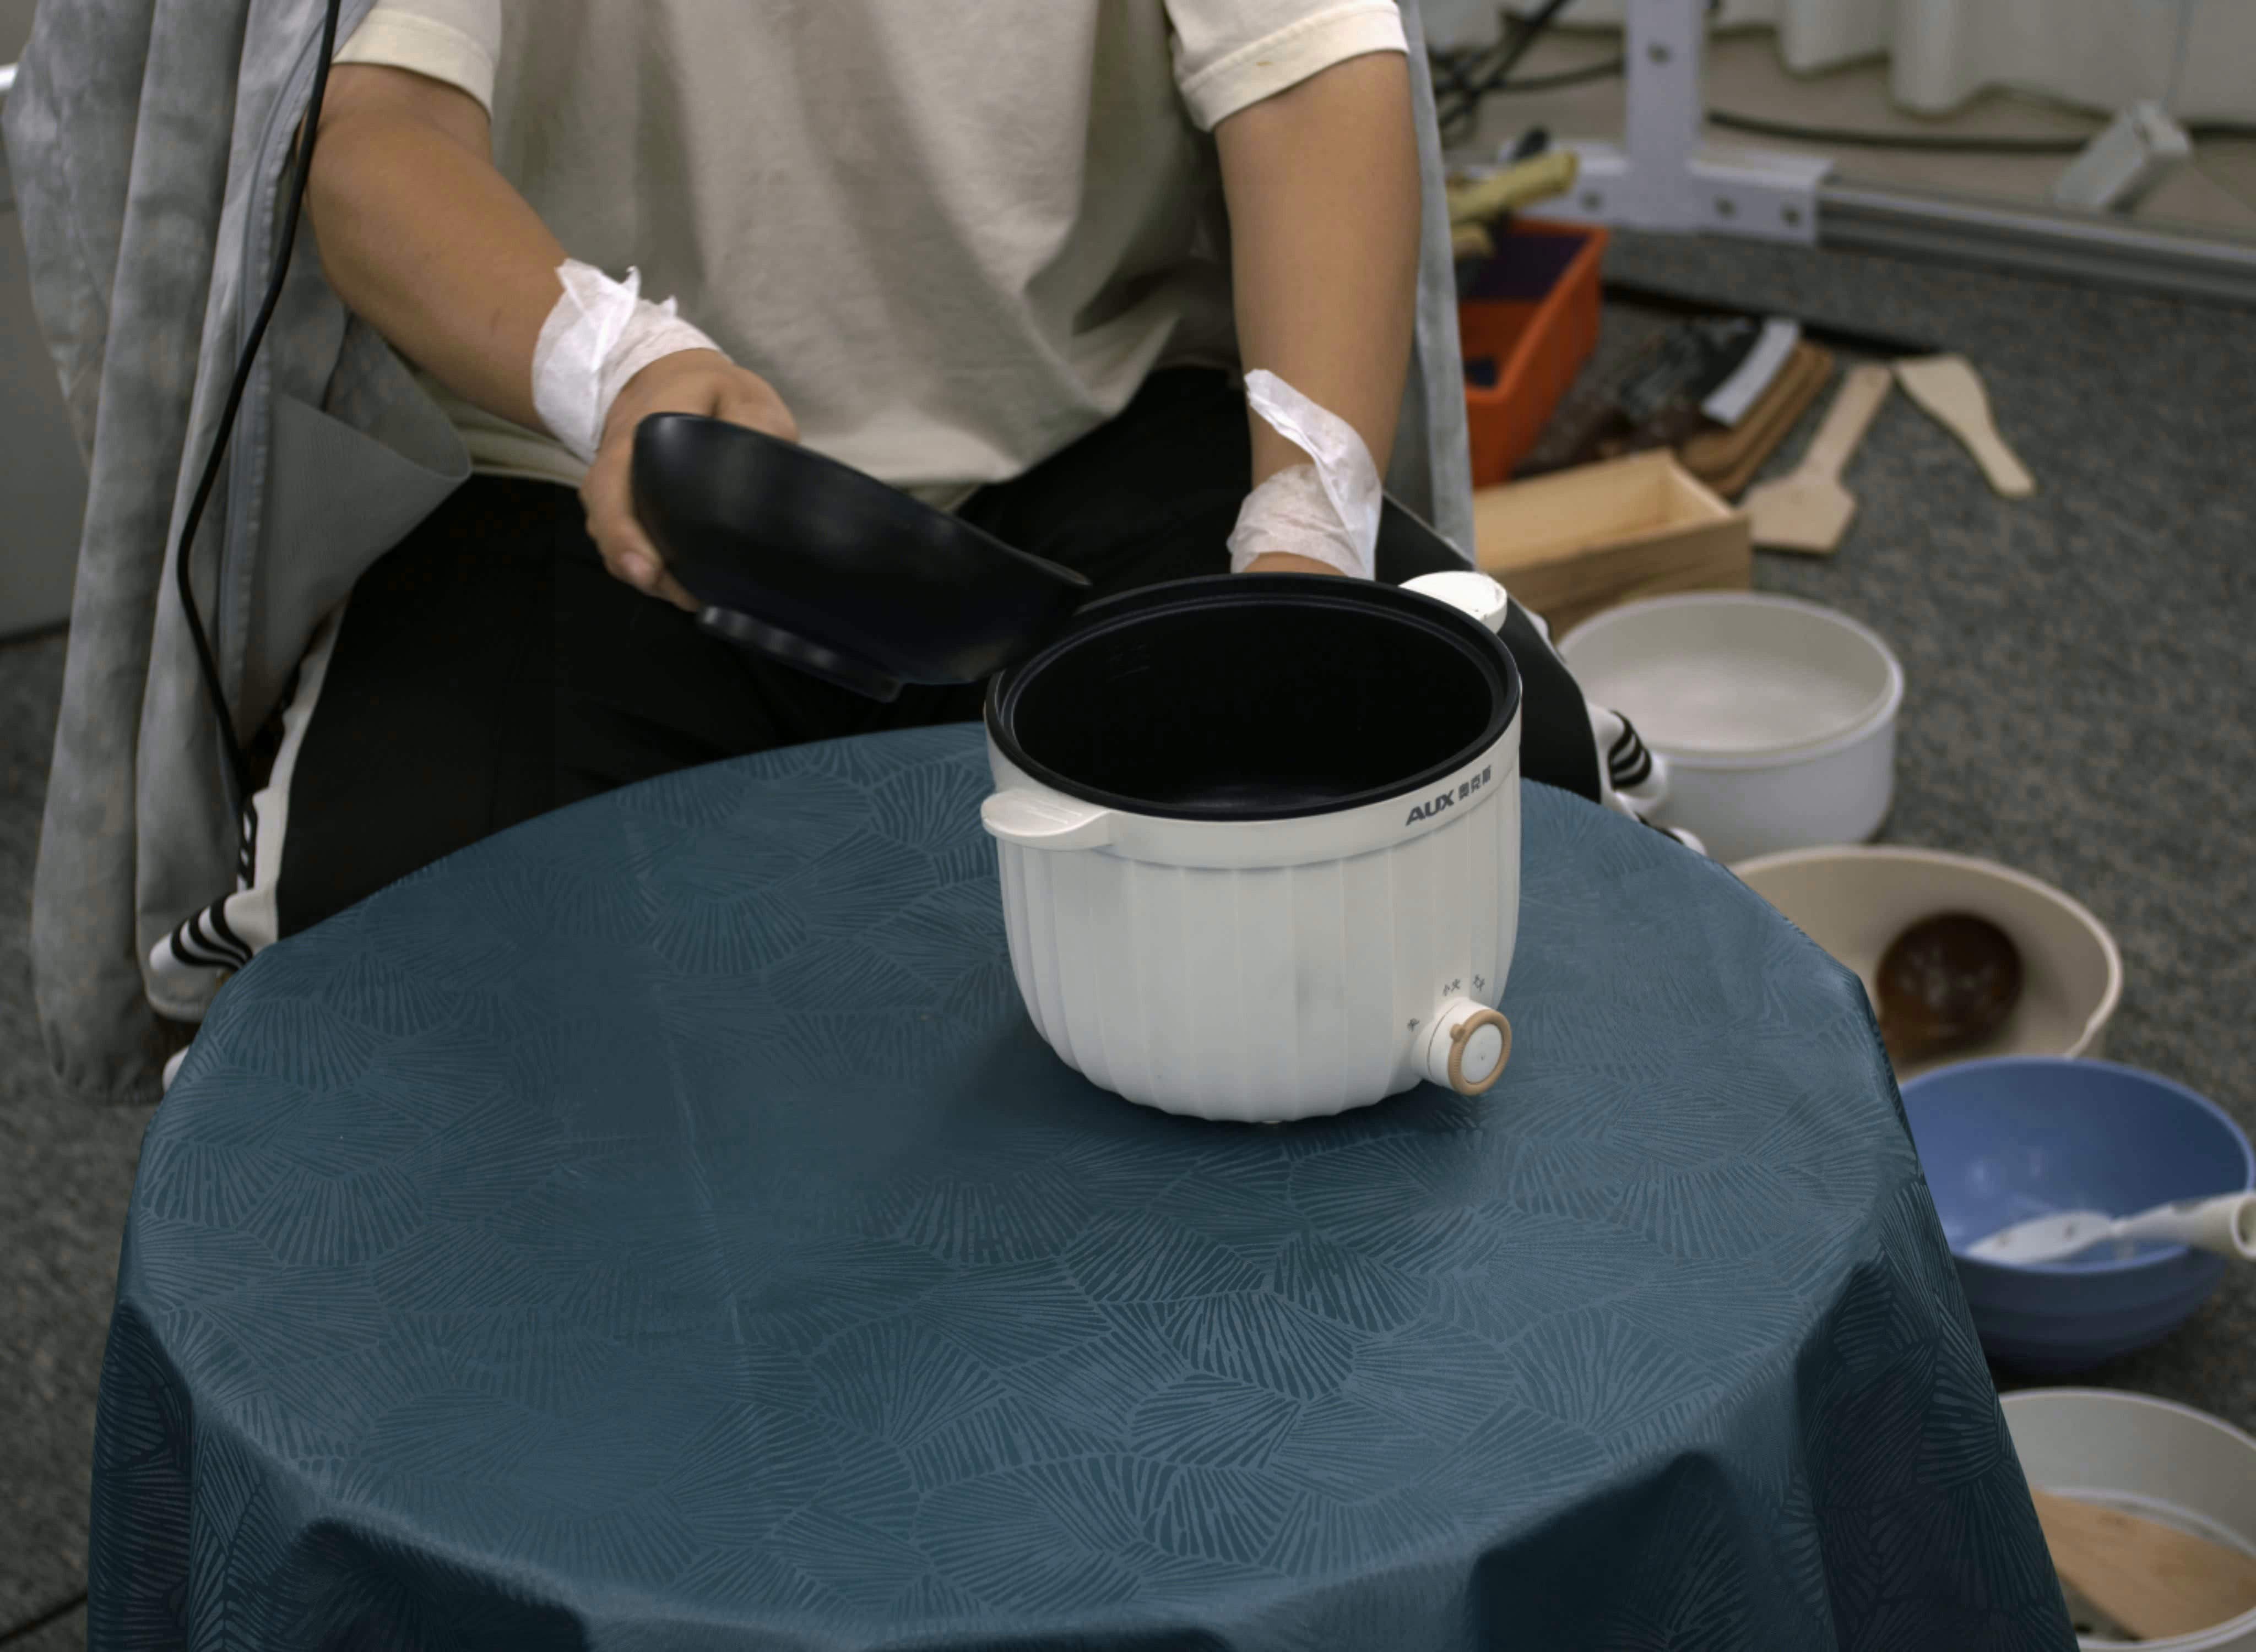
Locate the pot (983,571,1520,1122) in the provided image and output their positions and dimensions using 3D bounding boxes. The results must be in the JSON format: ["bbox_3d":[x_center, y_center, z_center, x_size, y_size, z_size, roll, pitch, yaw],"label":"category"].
[{"bbox_3d":[0.050,0.012,1.918,0.190,0.141,0.243,17,34,41],"label":"pot"}]

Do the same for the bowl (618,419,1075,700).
[{"bbox_3d":[-0.101,-0.081,1.822,0.170,0.067,0.137,19,-3,35],"label":"bowl"}]
